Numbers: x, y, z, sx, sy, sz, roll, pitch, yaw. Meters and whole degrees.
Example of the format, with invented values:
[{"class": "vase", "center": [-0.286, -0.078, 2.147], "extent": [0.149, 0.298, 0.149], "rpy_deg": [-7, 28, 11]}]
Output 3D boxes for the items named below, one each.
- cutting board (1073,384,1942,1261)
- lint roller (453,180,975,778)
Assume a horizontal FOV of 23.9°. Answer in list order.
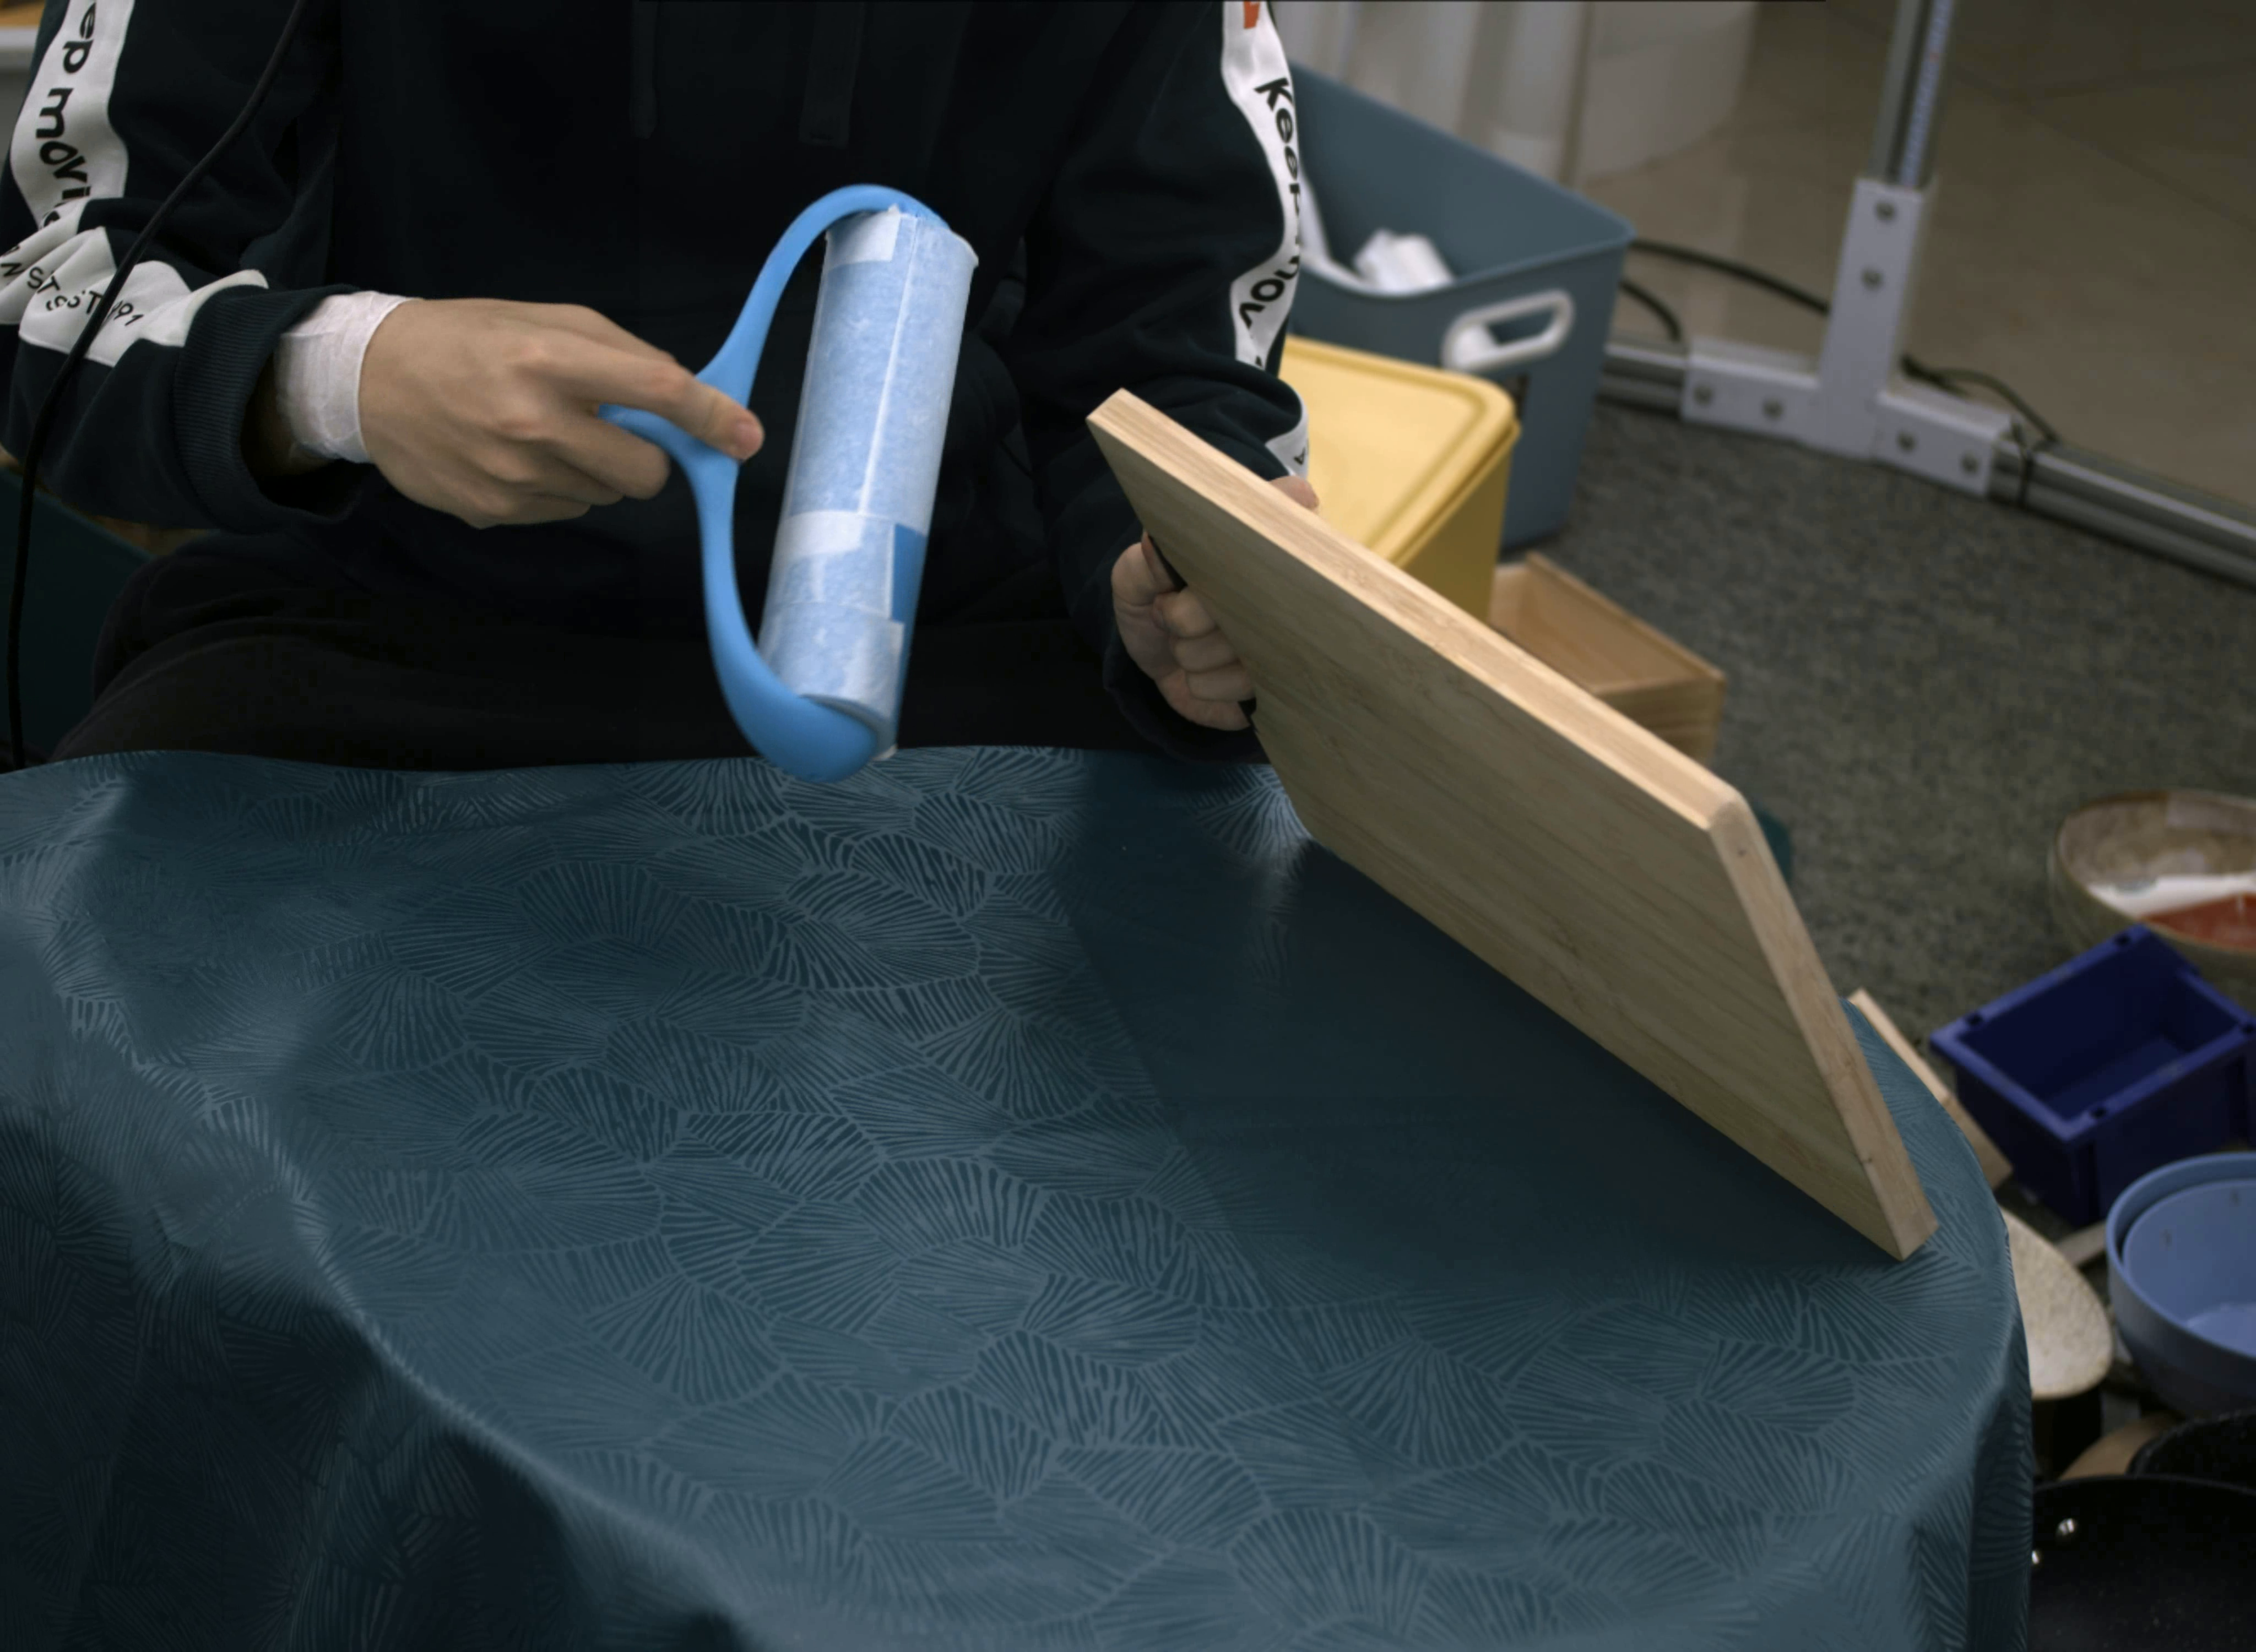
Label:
[{"class": "cutting board", "center": [0.128, -0.005, 1.851], "extent": [0.023, 0.248, 0.352], "rpy_deg": [-41, 45, -12]}, {"class": "lint roller", "center": [-0.150, -0.130, 1.890], "extent": [0.179, 0.068, 0.230], "rpy_deg": [6, 67, -5]}]
